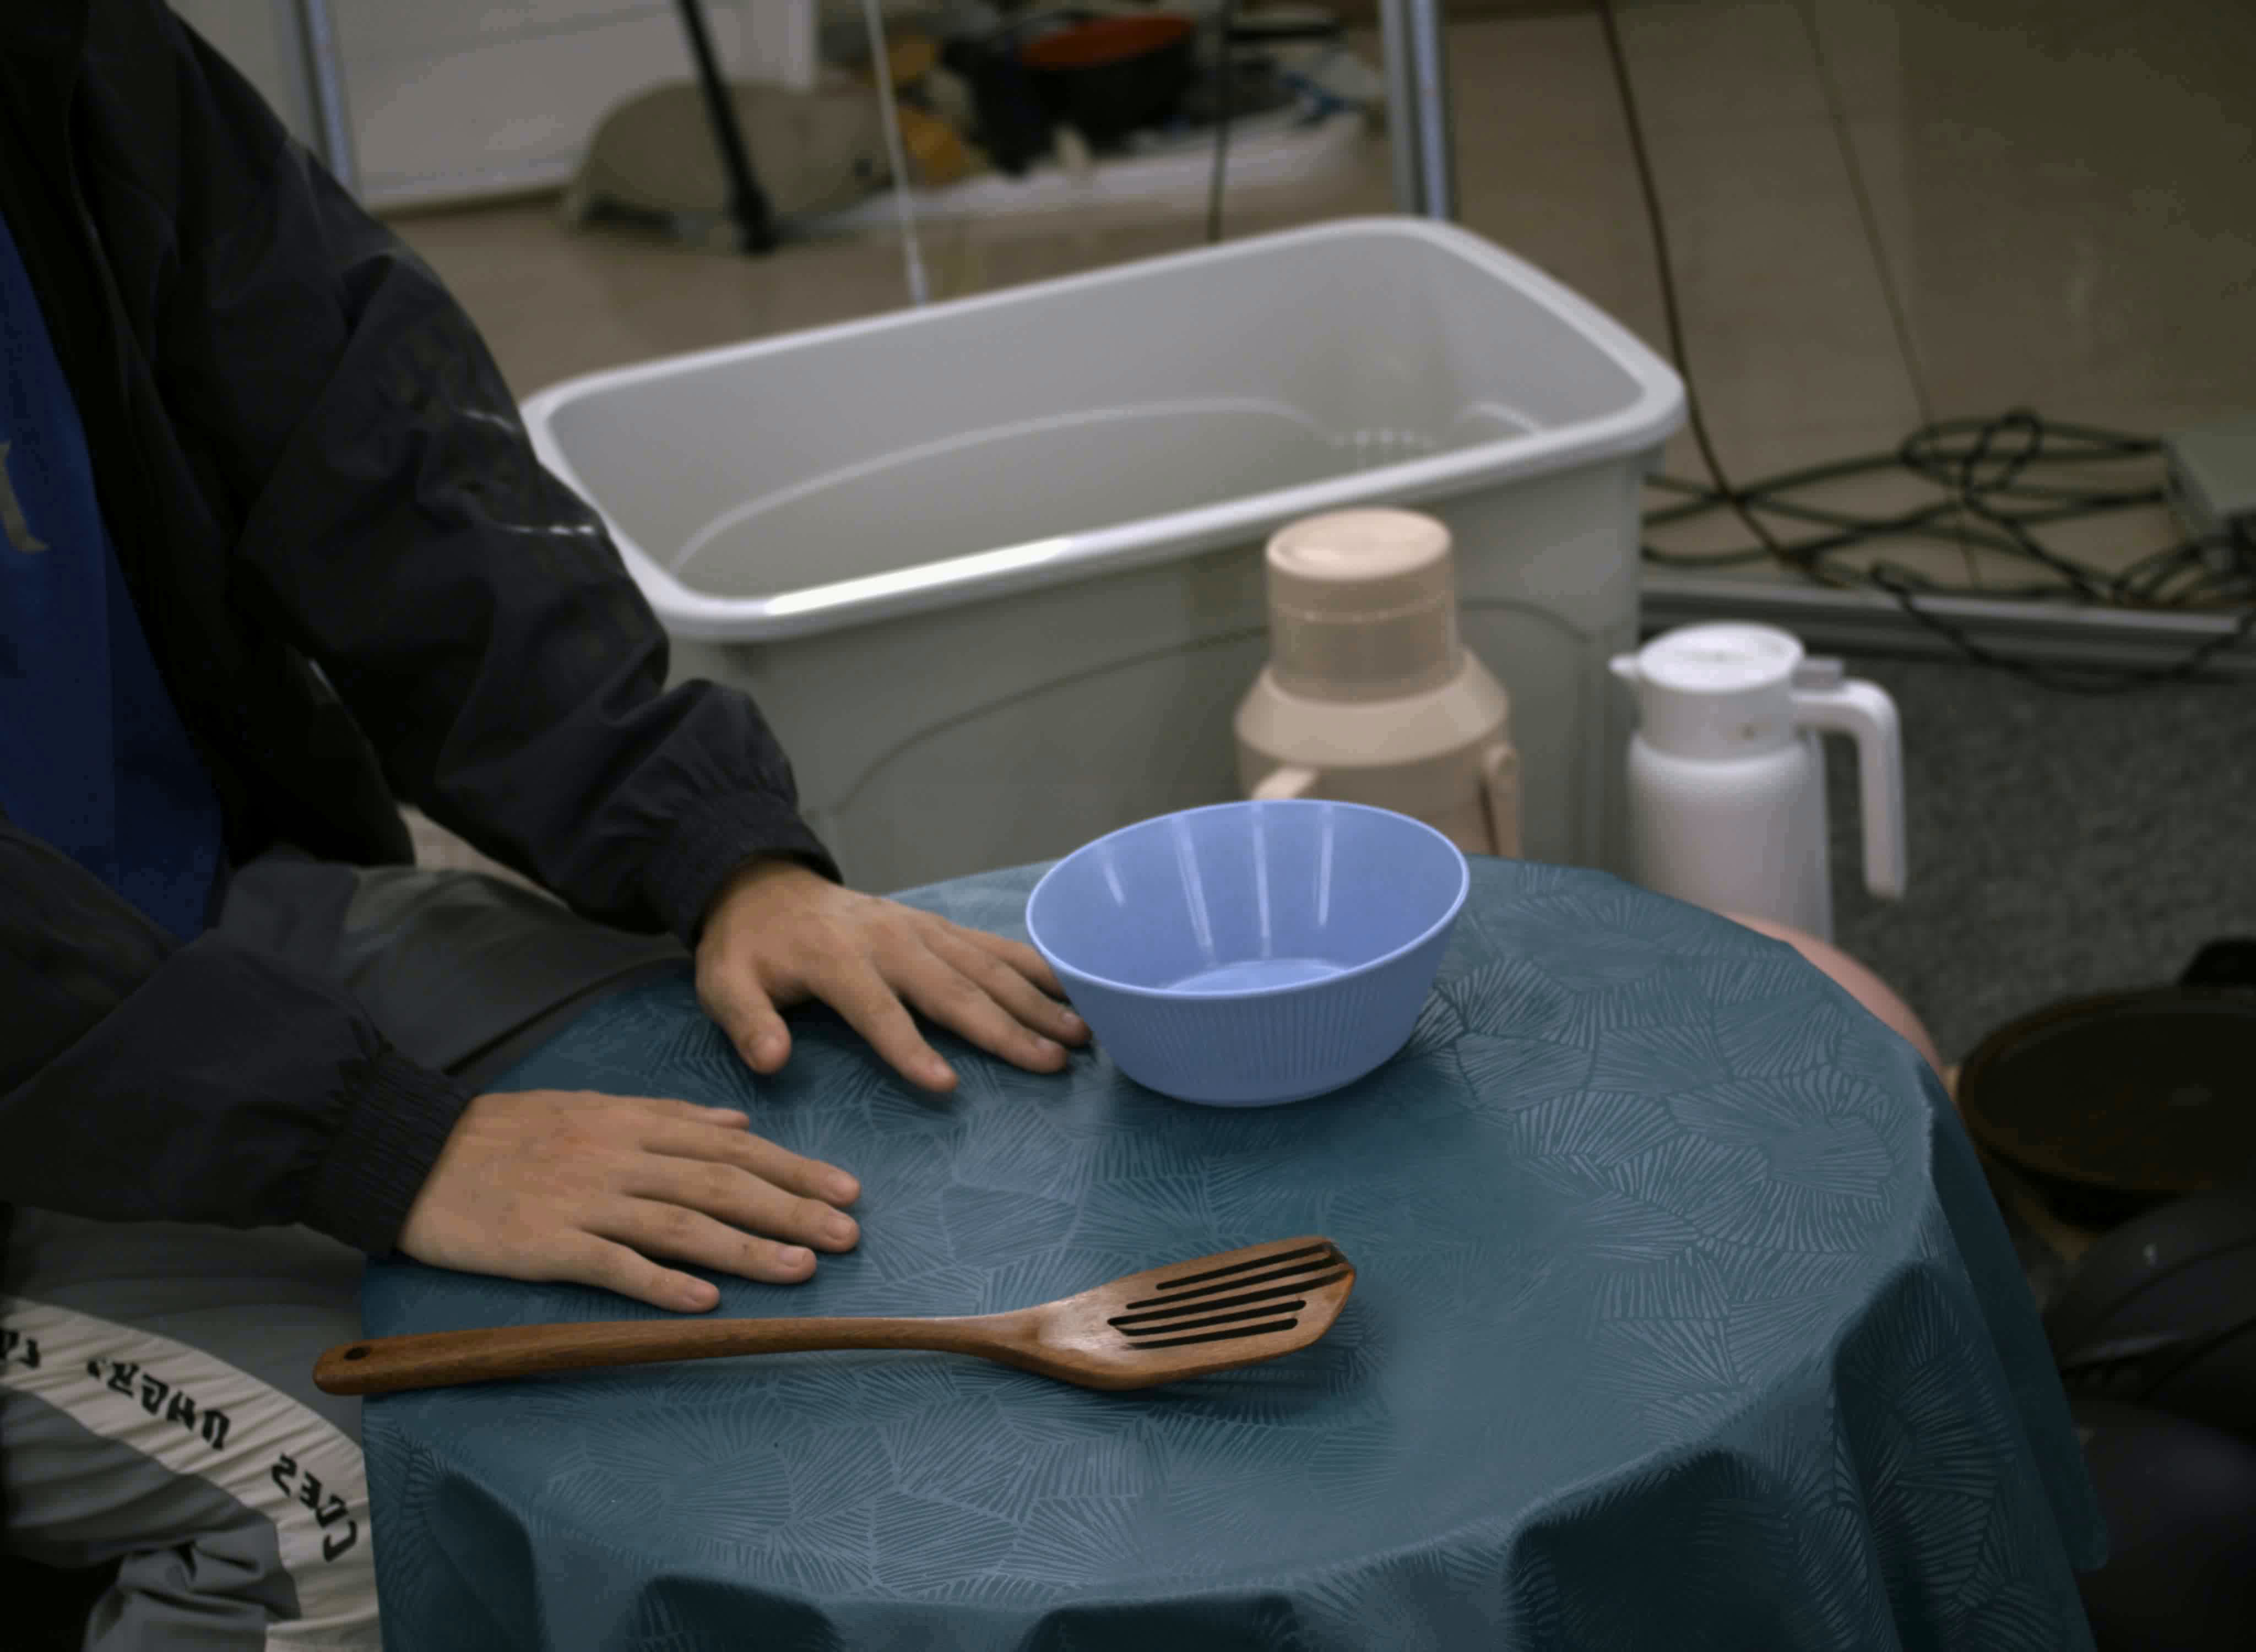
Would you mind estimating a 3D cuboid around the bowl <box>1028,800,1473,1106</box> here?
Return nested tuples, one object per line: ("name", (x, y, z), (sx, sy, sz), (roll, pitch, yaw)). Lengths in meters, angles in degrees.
("bowl", (0.051, 0.055, 2.230), (0.176, 0.071, 0.173), (-7, 24, 3))

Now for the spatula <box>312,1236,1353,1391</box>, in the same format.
("spatula", (-0.109, 0.185, 2.051), (0.386, 0.024, 0.084), (-4, 24, 10))
